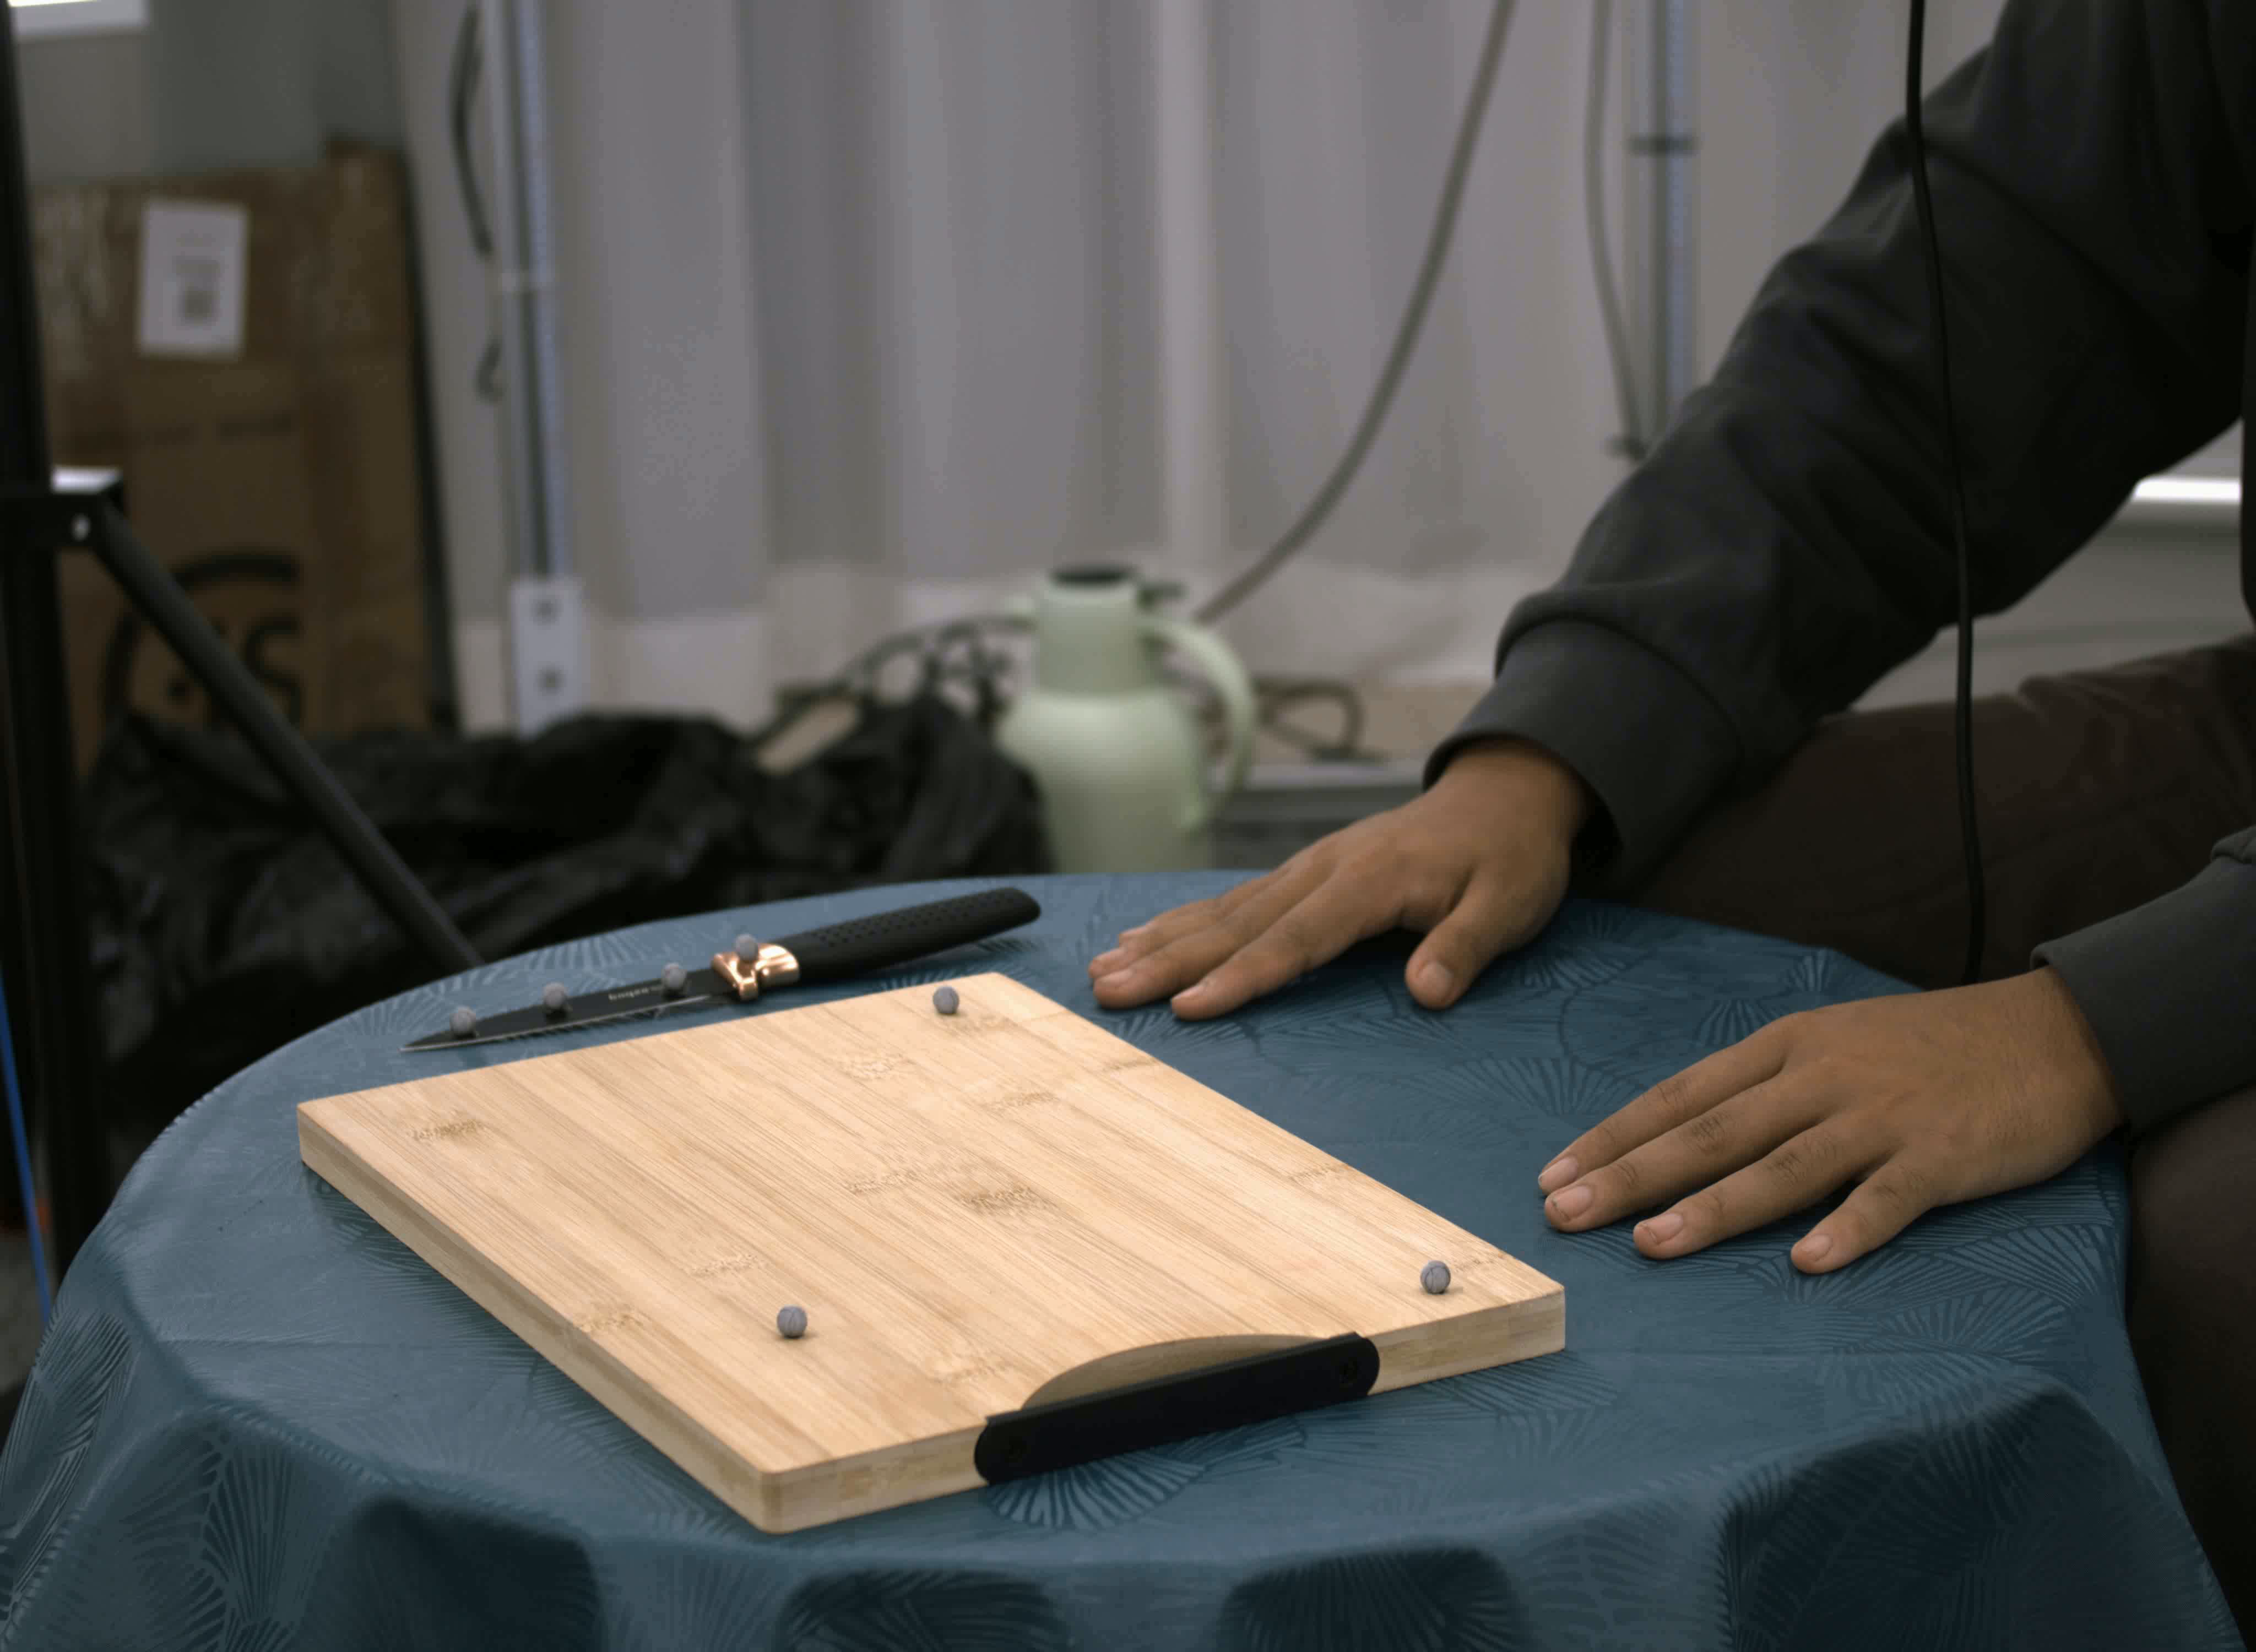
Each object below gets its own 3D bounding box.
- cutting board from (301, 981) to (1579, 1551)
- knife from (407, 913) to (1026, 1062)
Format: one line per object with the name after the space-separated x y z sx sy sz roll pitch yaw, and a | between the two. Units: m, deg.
-0.064 0.115 1.513 0.245 0.023 0.356 -11 18 -26 | cutting board
-0.133 0.054 1.750 0.221 0.017 0.027 -10 25 -23 | knife
